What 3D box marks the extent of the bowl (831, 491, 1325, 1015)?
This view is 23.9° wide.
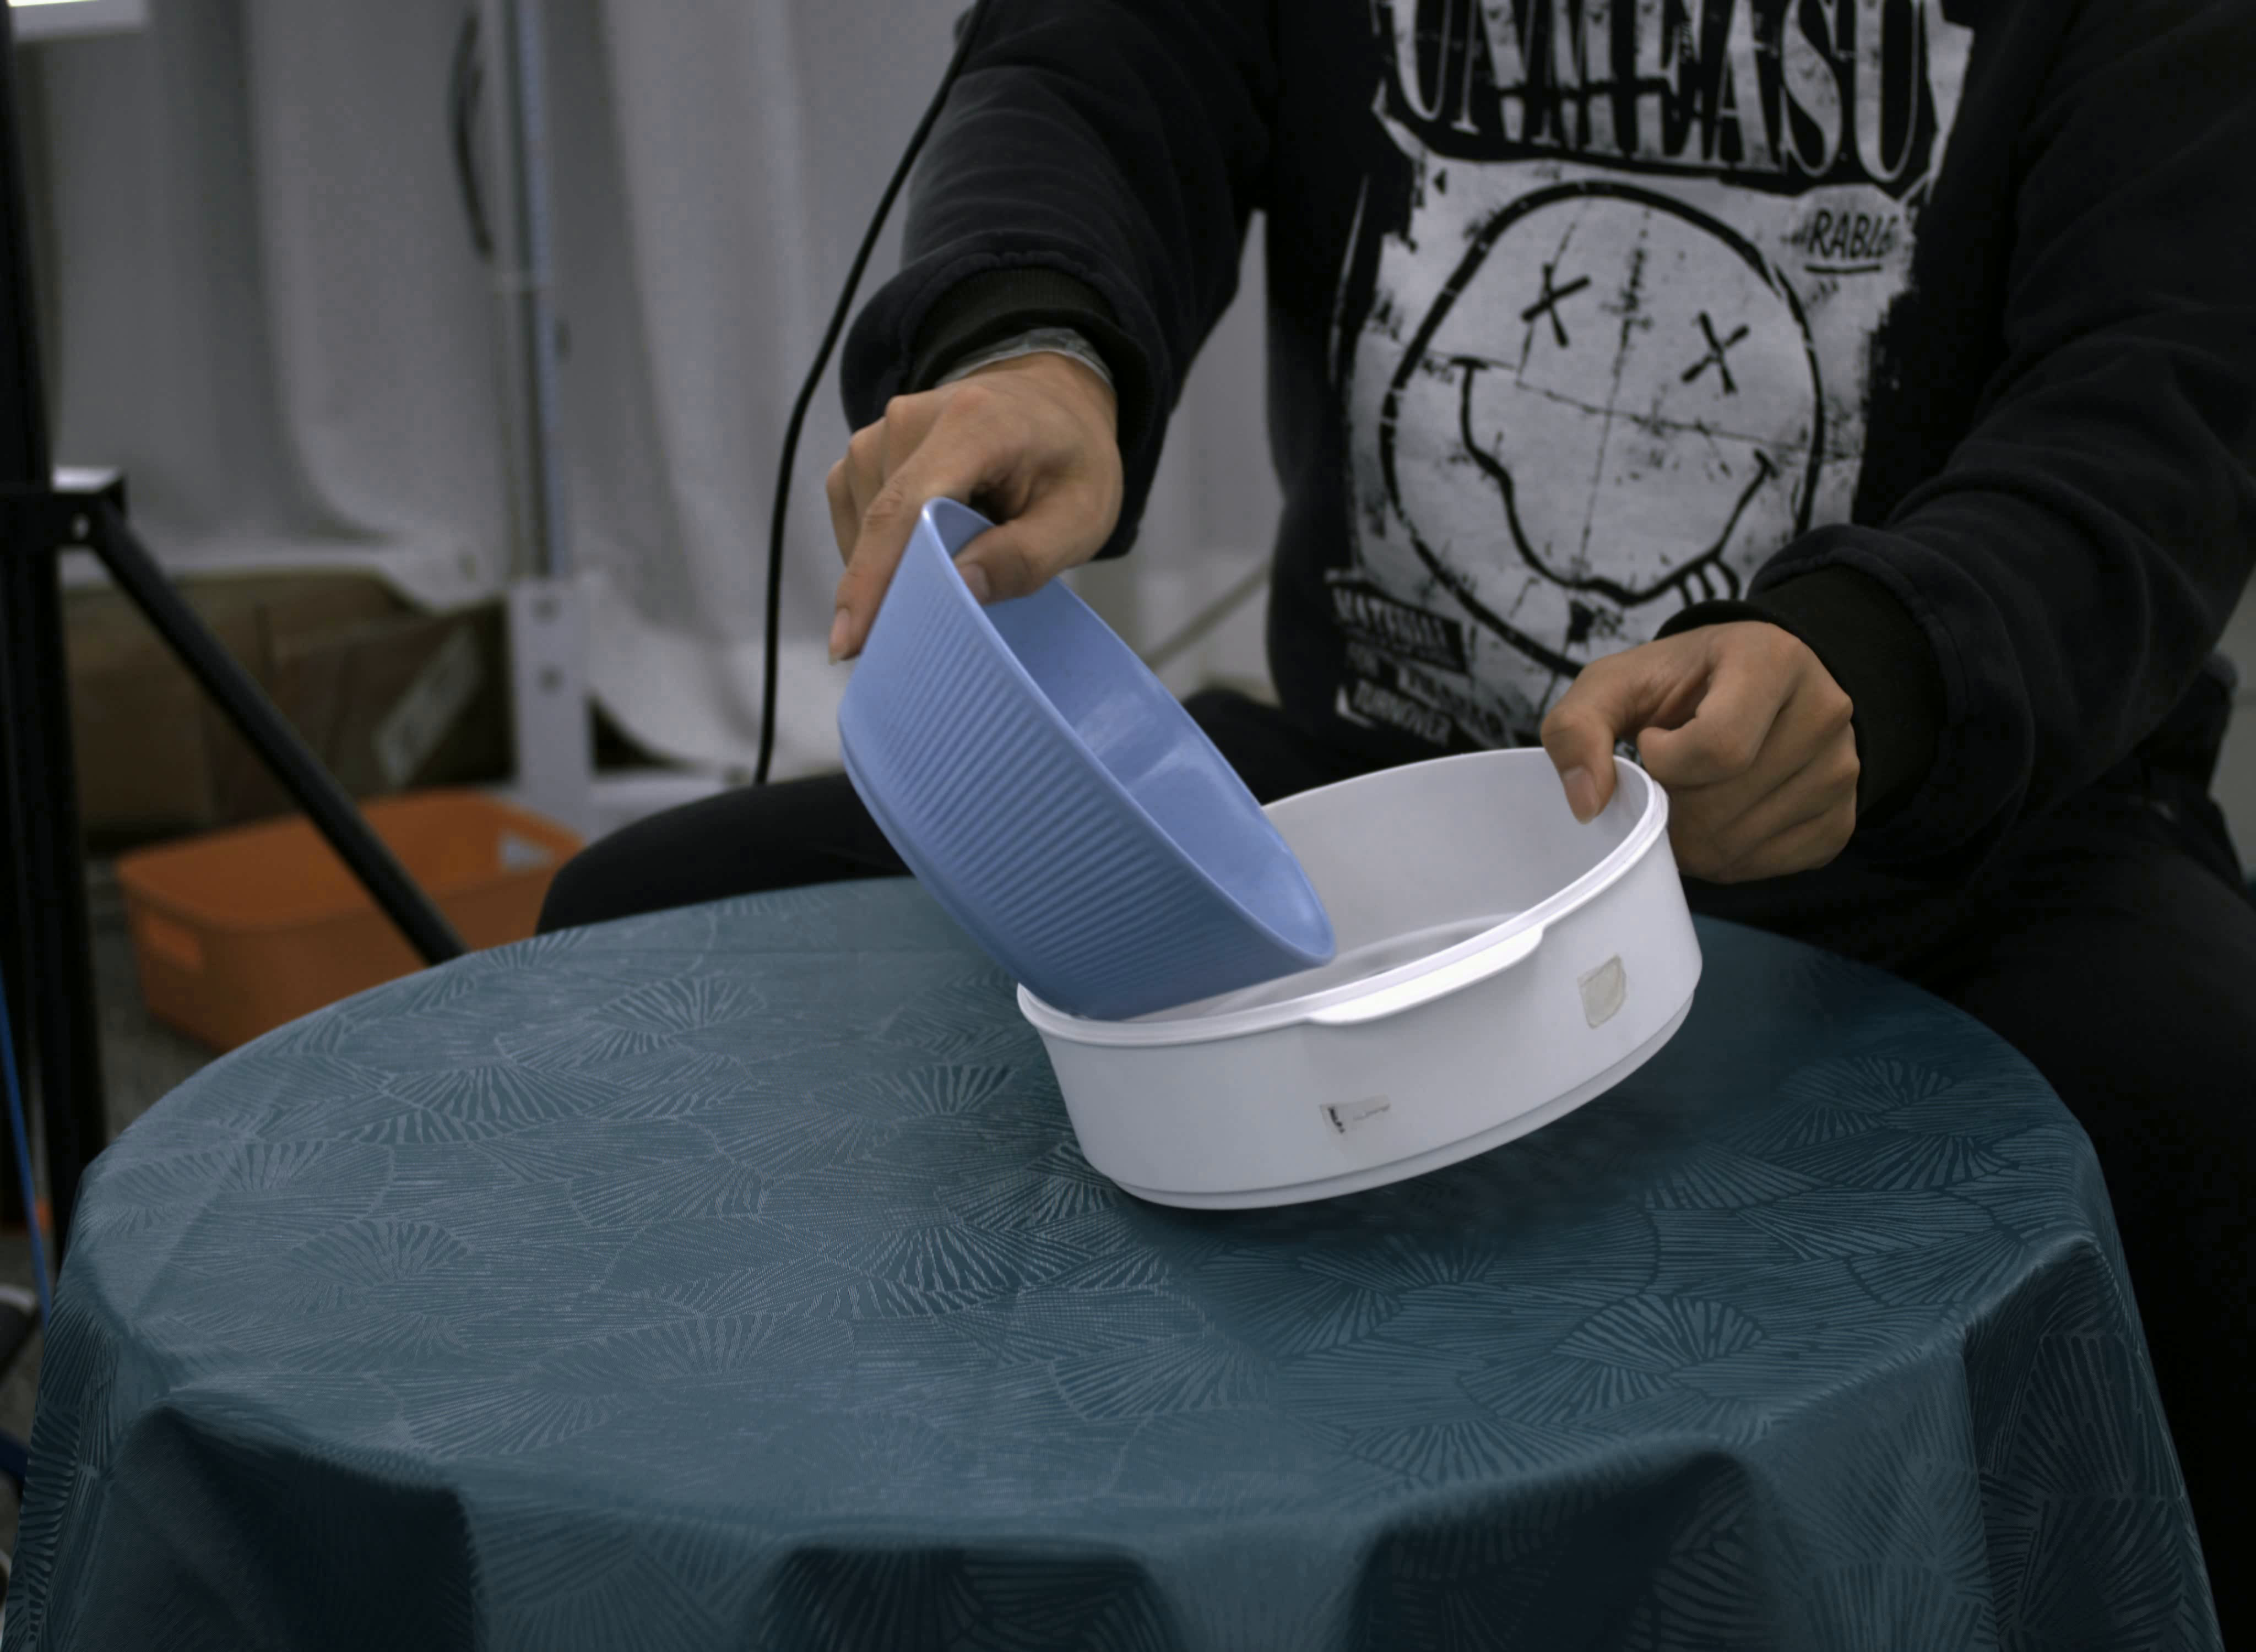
[{"bbox_3d":[-0.024,-0.010,1.536,0.070,0.174,0.177,-41,12,10],"label":"bowl"}]

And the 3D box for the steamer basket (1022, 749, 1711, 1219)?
[{"bbox_3d":[0.073,0.047,1.567,0.200,0.069,0.233,-21,18,-7],"label":"steamer basket"}]
